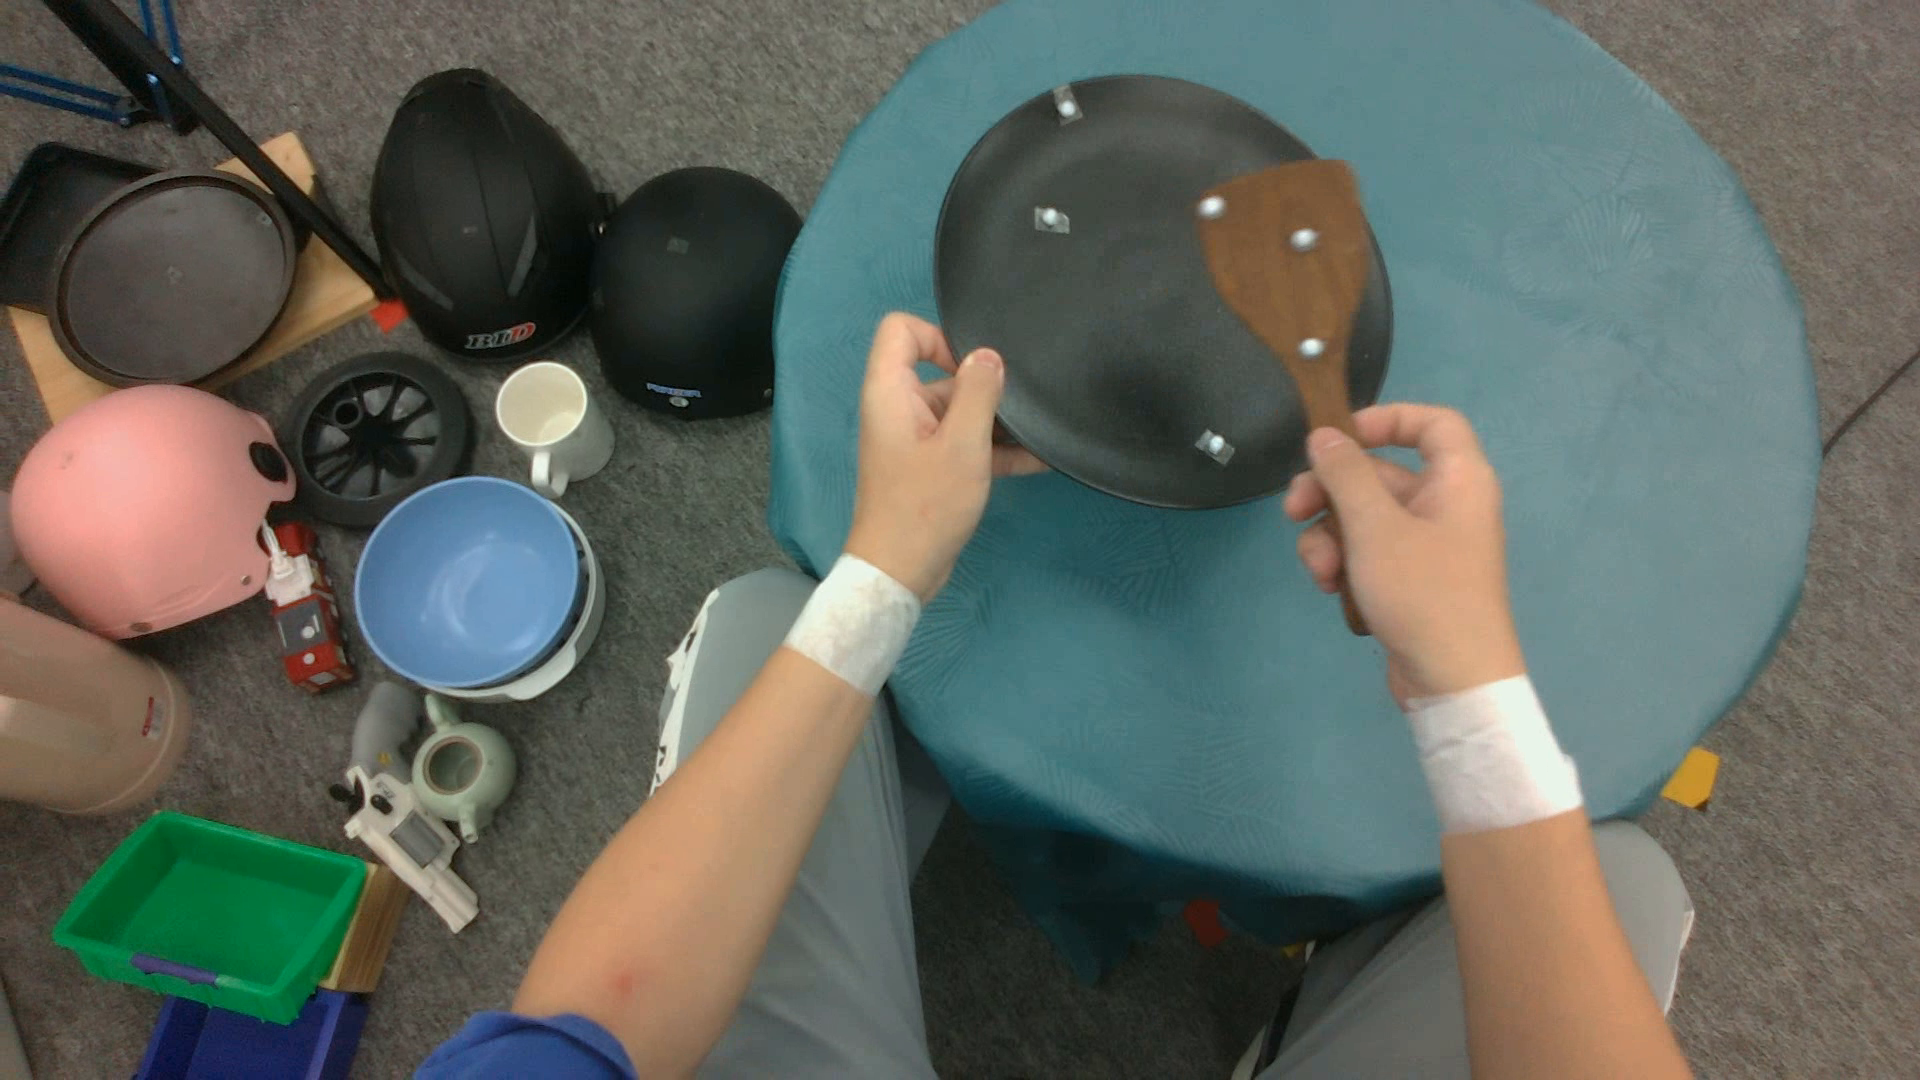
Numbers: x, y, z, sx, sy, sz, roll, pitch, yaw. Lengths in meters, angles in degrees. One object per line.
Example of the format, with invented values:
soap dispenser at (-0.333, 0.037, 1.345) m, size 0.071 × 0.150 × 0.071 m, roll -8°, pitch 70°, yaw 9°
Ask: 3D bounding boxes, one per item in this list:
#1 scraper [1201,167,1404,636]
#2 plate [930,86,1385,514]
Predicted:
scraper at (0.164, -0.062, 0.617) m, size 0.076 × 0.011 × 0.211 m, roll -11°, pitch 85°, yaw 3°
plate at (0.103, -0.127, 0.716) m, size 0.244 × 0.023 × 0.245 m, roll 3°, pitch 71°, yaw -10°
